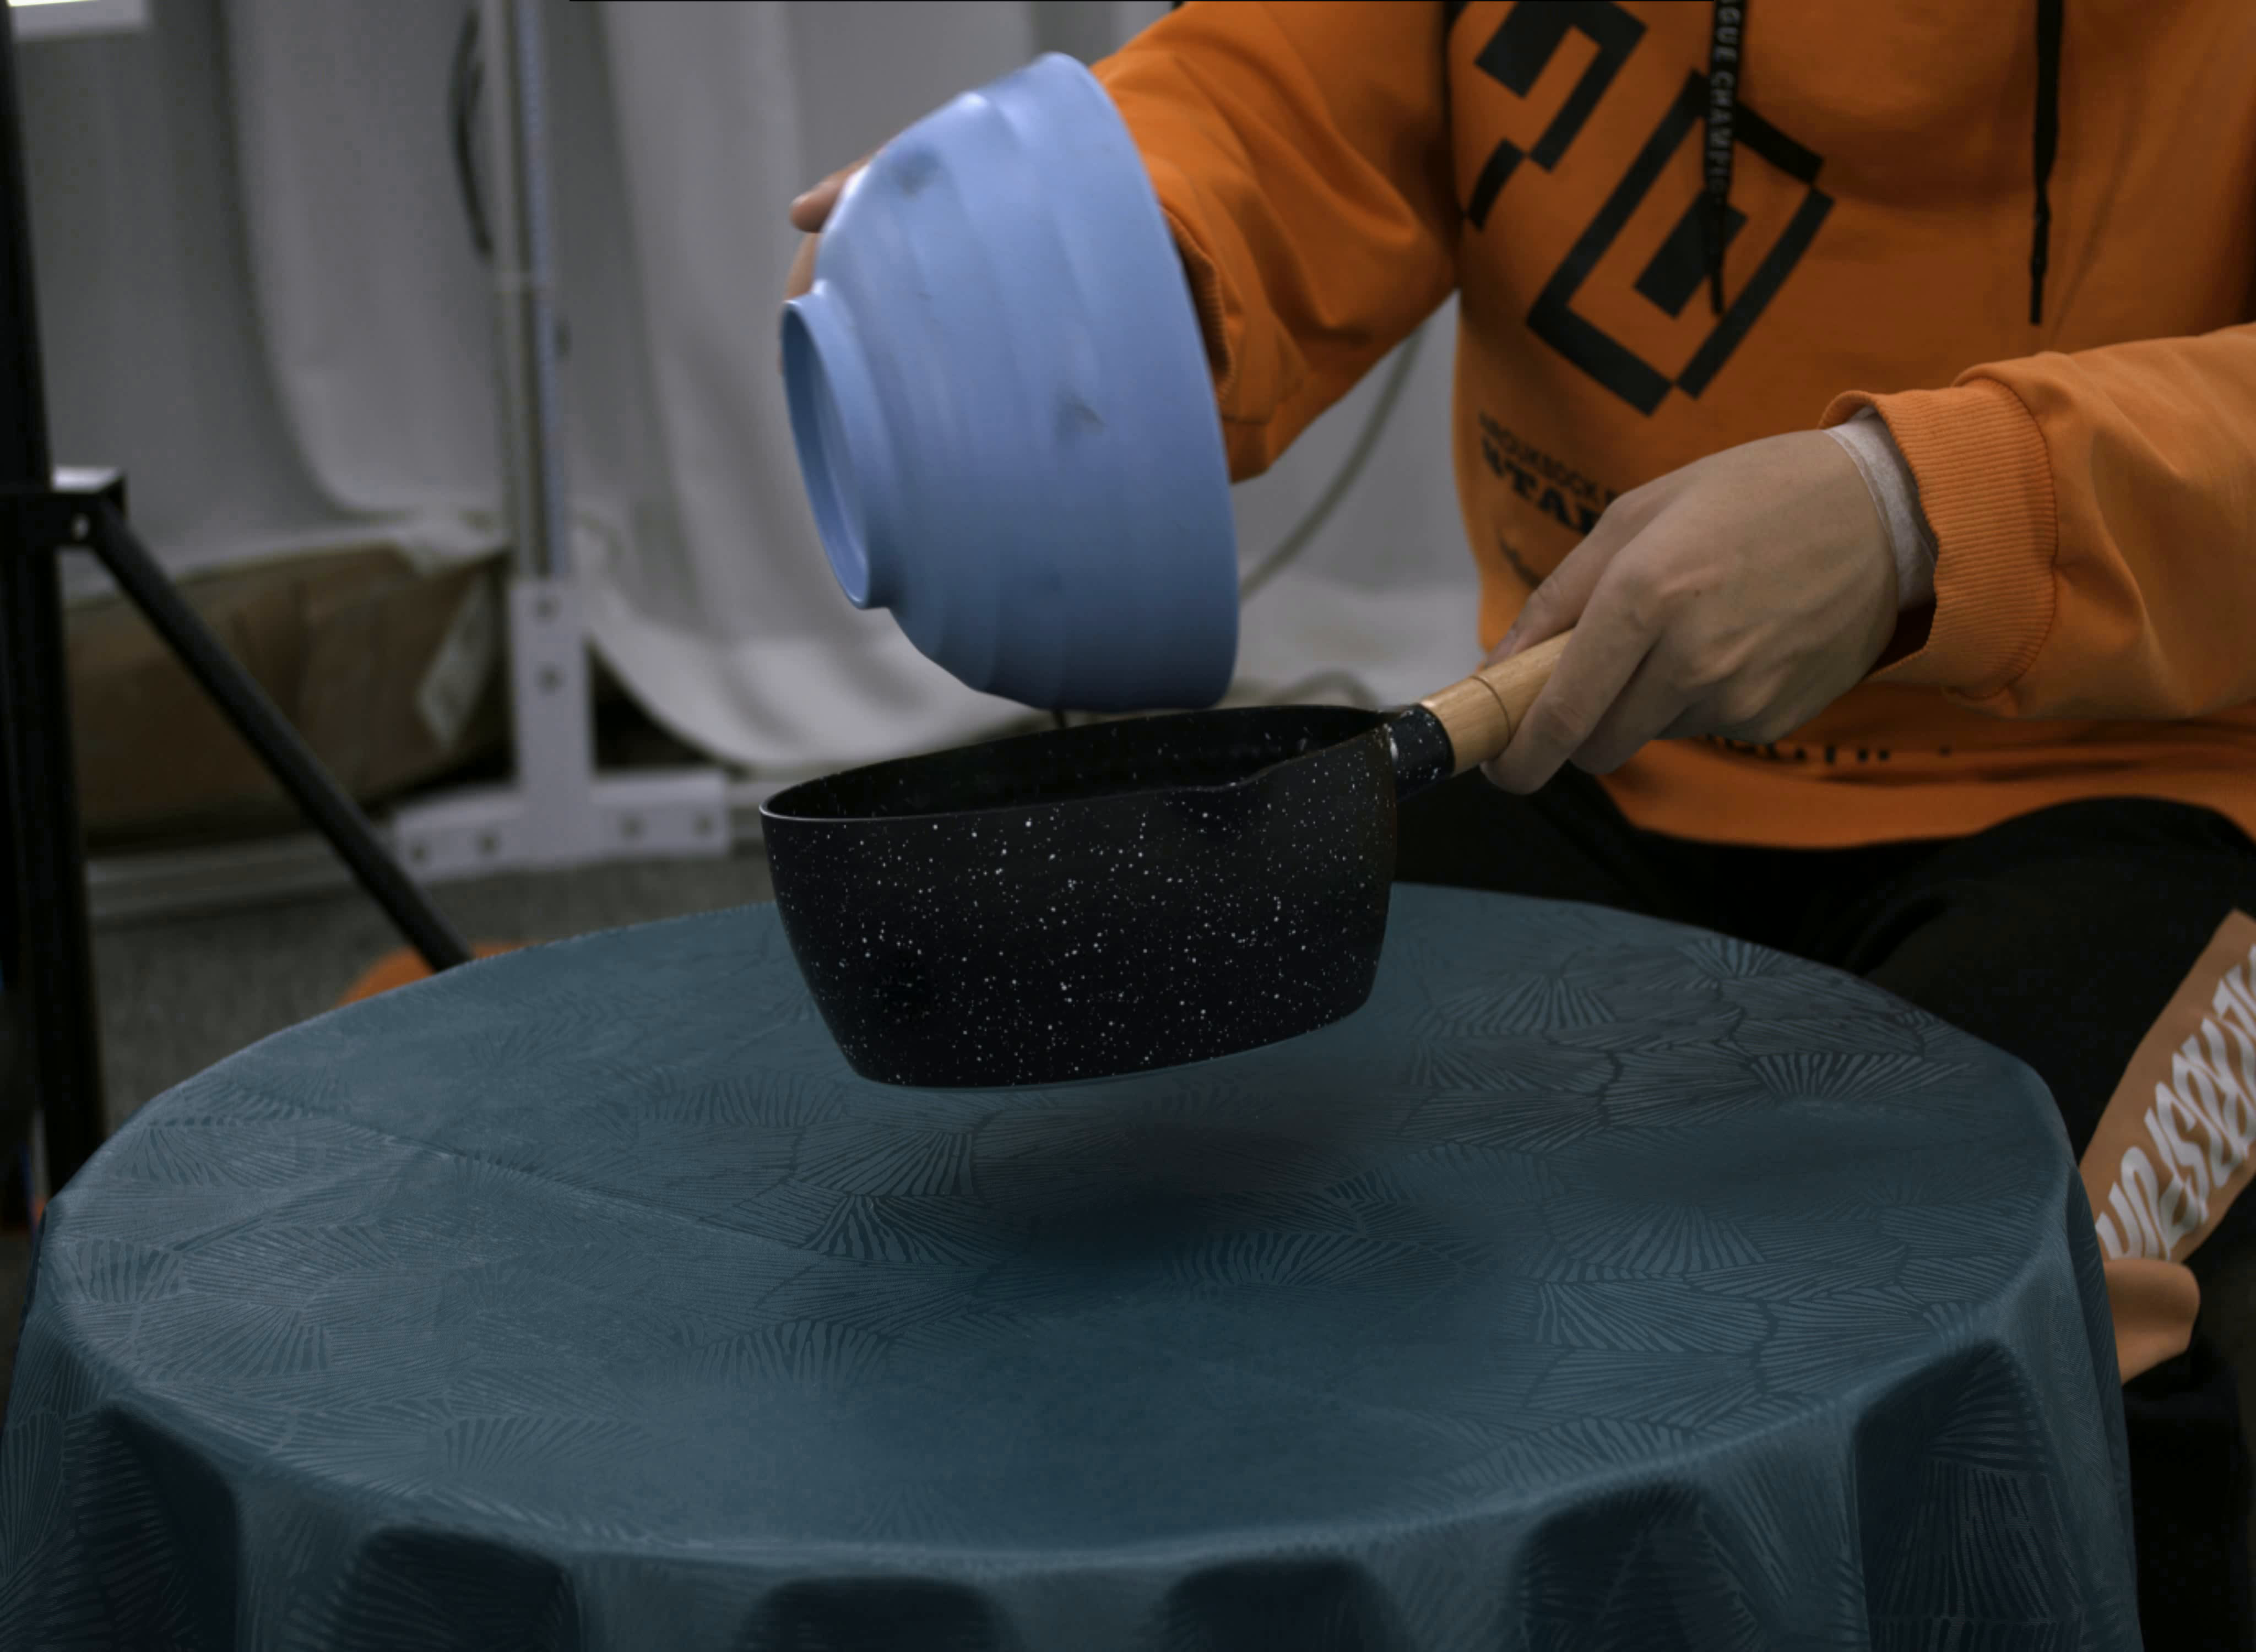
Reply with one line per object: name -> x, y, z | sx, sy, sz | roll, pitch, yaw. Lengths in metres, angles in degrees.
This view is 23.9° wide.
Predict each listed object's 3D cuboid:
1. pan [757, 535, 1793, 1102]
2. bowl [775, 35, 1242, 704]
pan -> 0.057, -0.003, 1.576 | 0.336, 0.108, 0.211 | -13, 7, -25
bowl -> -0.044, -0.120, 1.540 | 0.094, 0.196, 0.199 | -15, 18, -10
